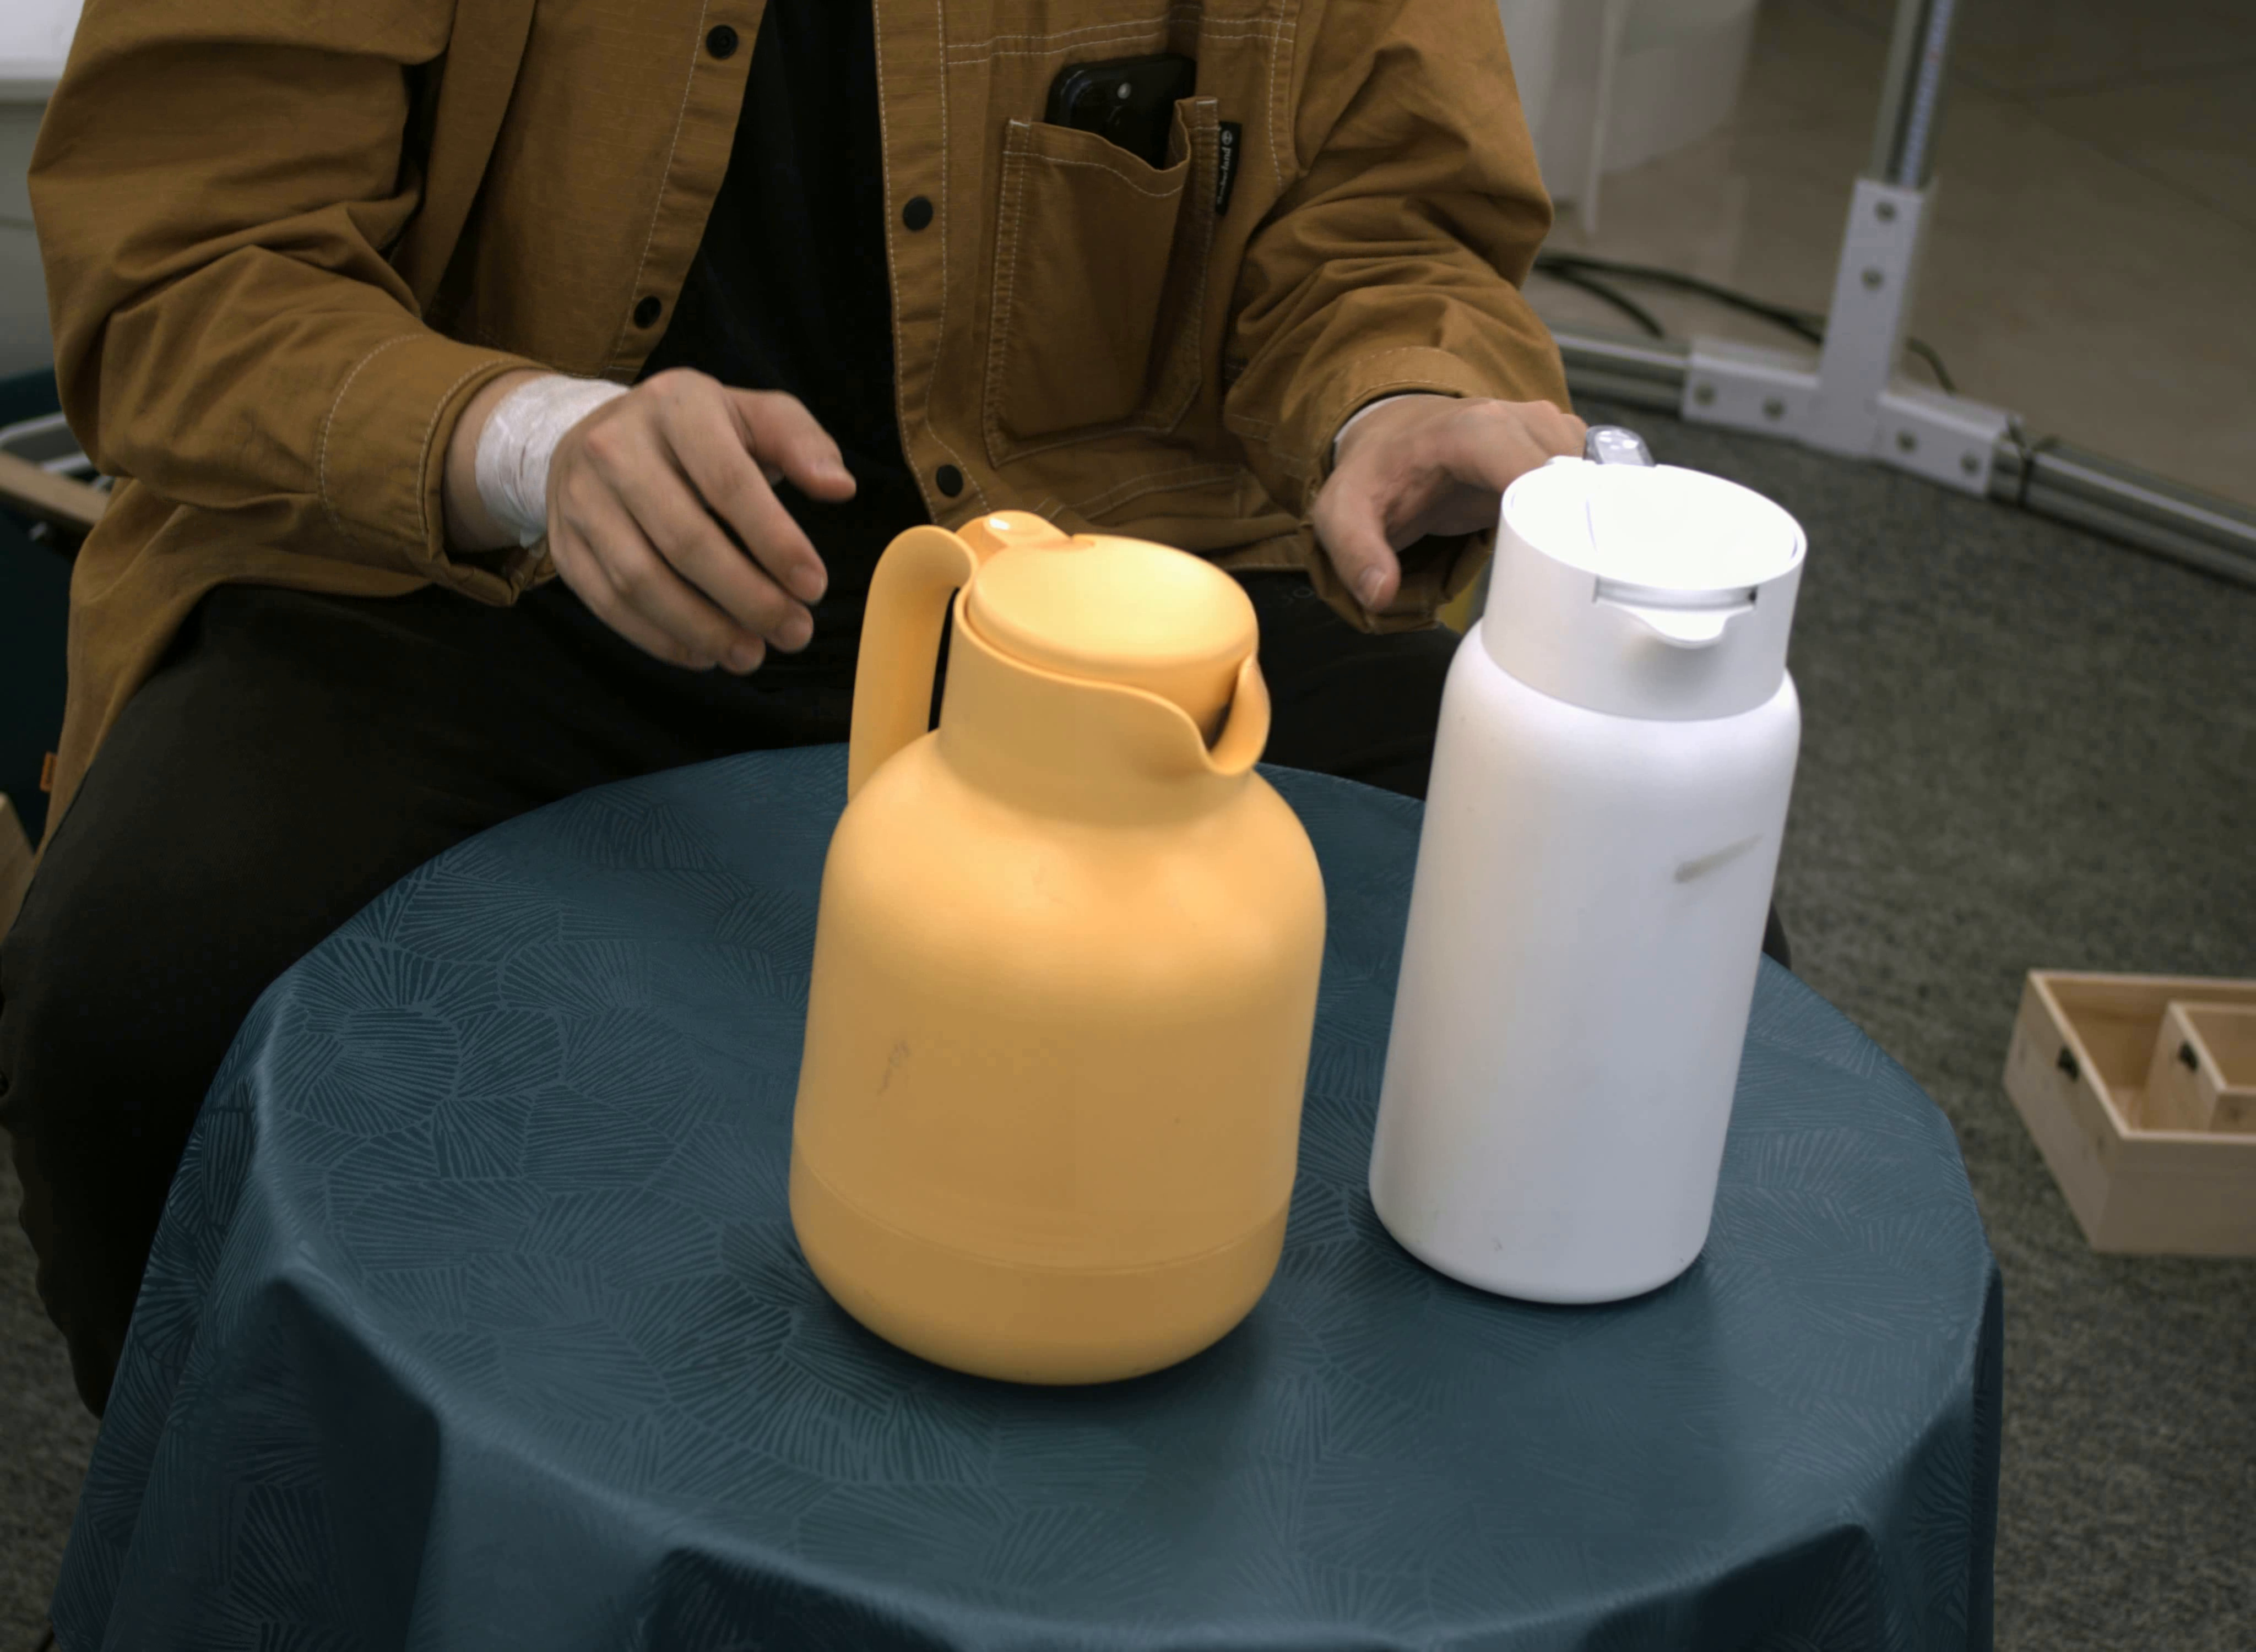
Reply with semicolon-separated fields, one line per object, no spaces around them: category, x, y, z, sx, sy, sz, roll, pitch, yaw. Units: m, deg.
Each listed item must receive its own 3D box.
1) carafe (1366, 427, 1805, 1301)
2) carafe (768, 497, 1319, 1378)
carafe;0.149;0.009;1.769;0.123;0.268;0.174;1;27;-8
carafe;-0.030;0.026;1.699;0.162;0.260;0.204;-6;30;-31
